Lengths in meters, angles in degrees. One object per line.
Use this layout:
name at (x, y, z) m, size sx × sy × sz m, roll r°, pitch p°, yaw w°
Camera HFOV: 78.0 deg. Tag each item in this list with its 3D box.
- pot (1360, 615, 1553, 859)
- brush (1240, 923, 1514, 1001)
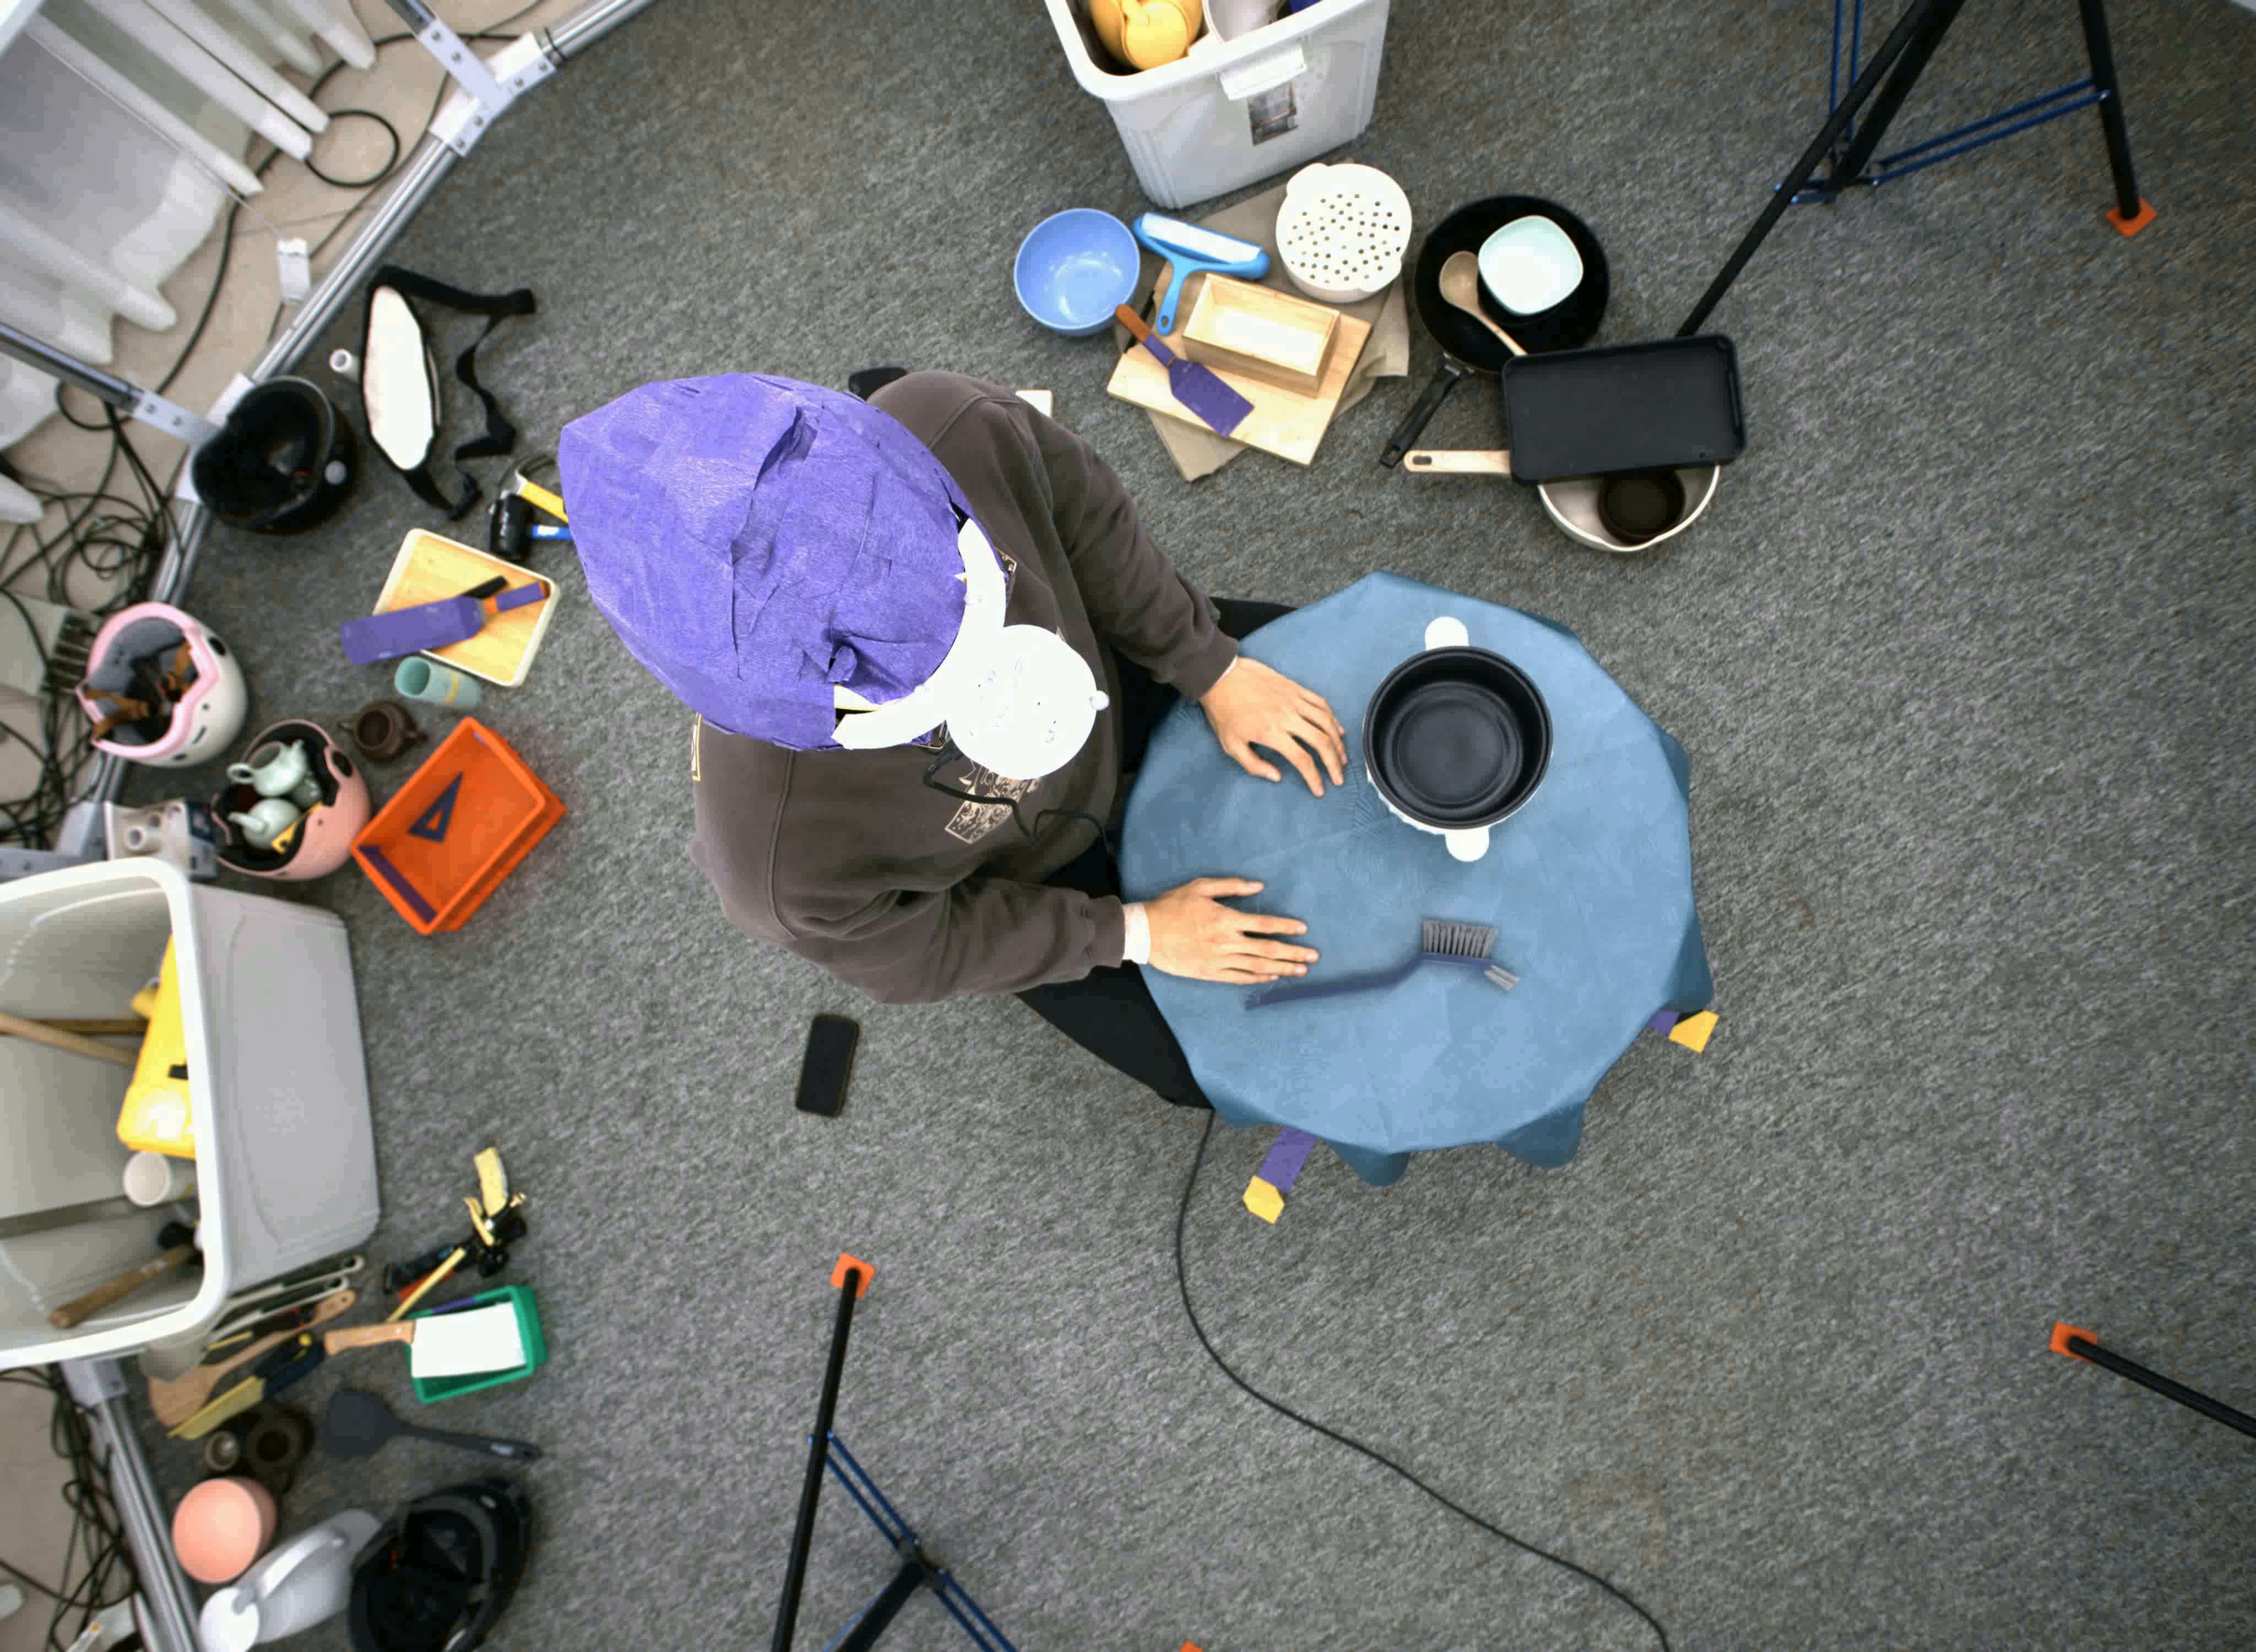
pot at (0.332, -0.085, 1.383) m, size 0.191 × 0.142 × 0.239 m, roll -6°, pitch 87°, yaw 13°
brush at (0.256, 0.167, 1.440) m, size 0.274 × 0.033 × 0.095 m, roll -18°, pitch 85°, yaw 8°
